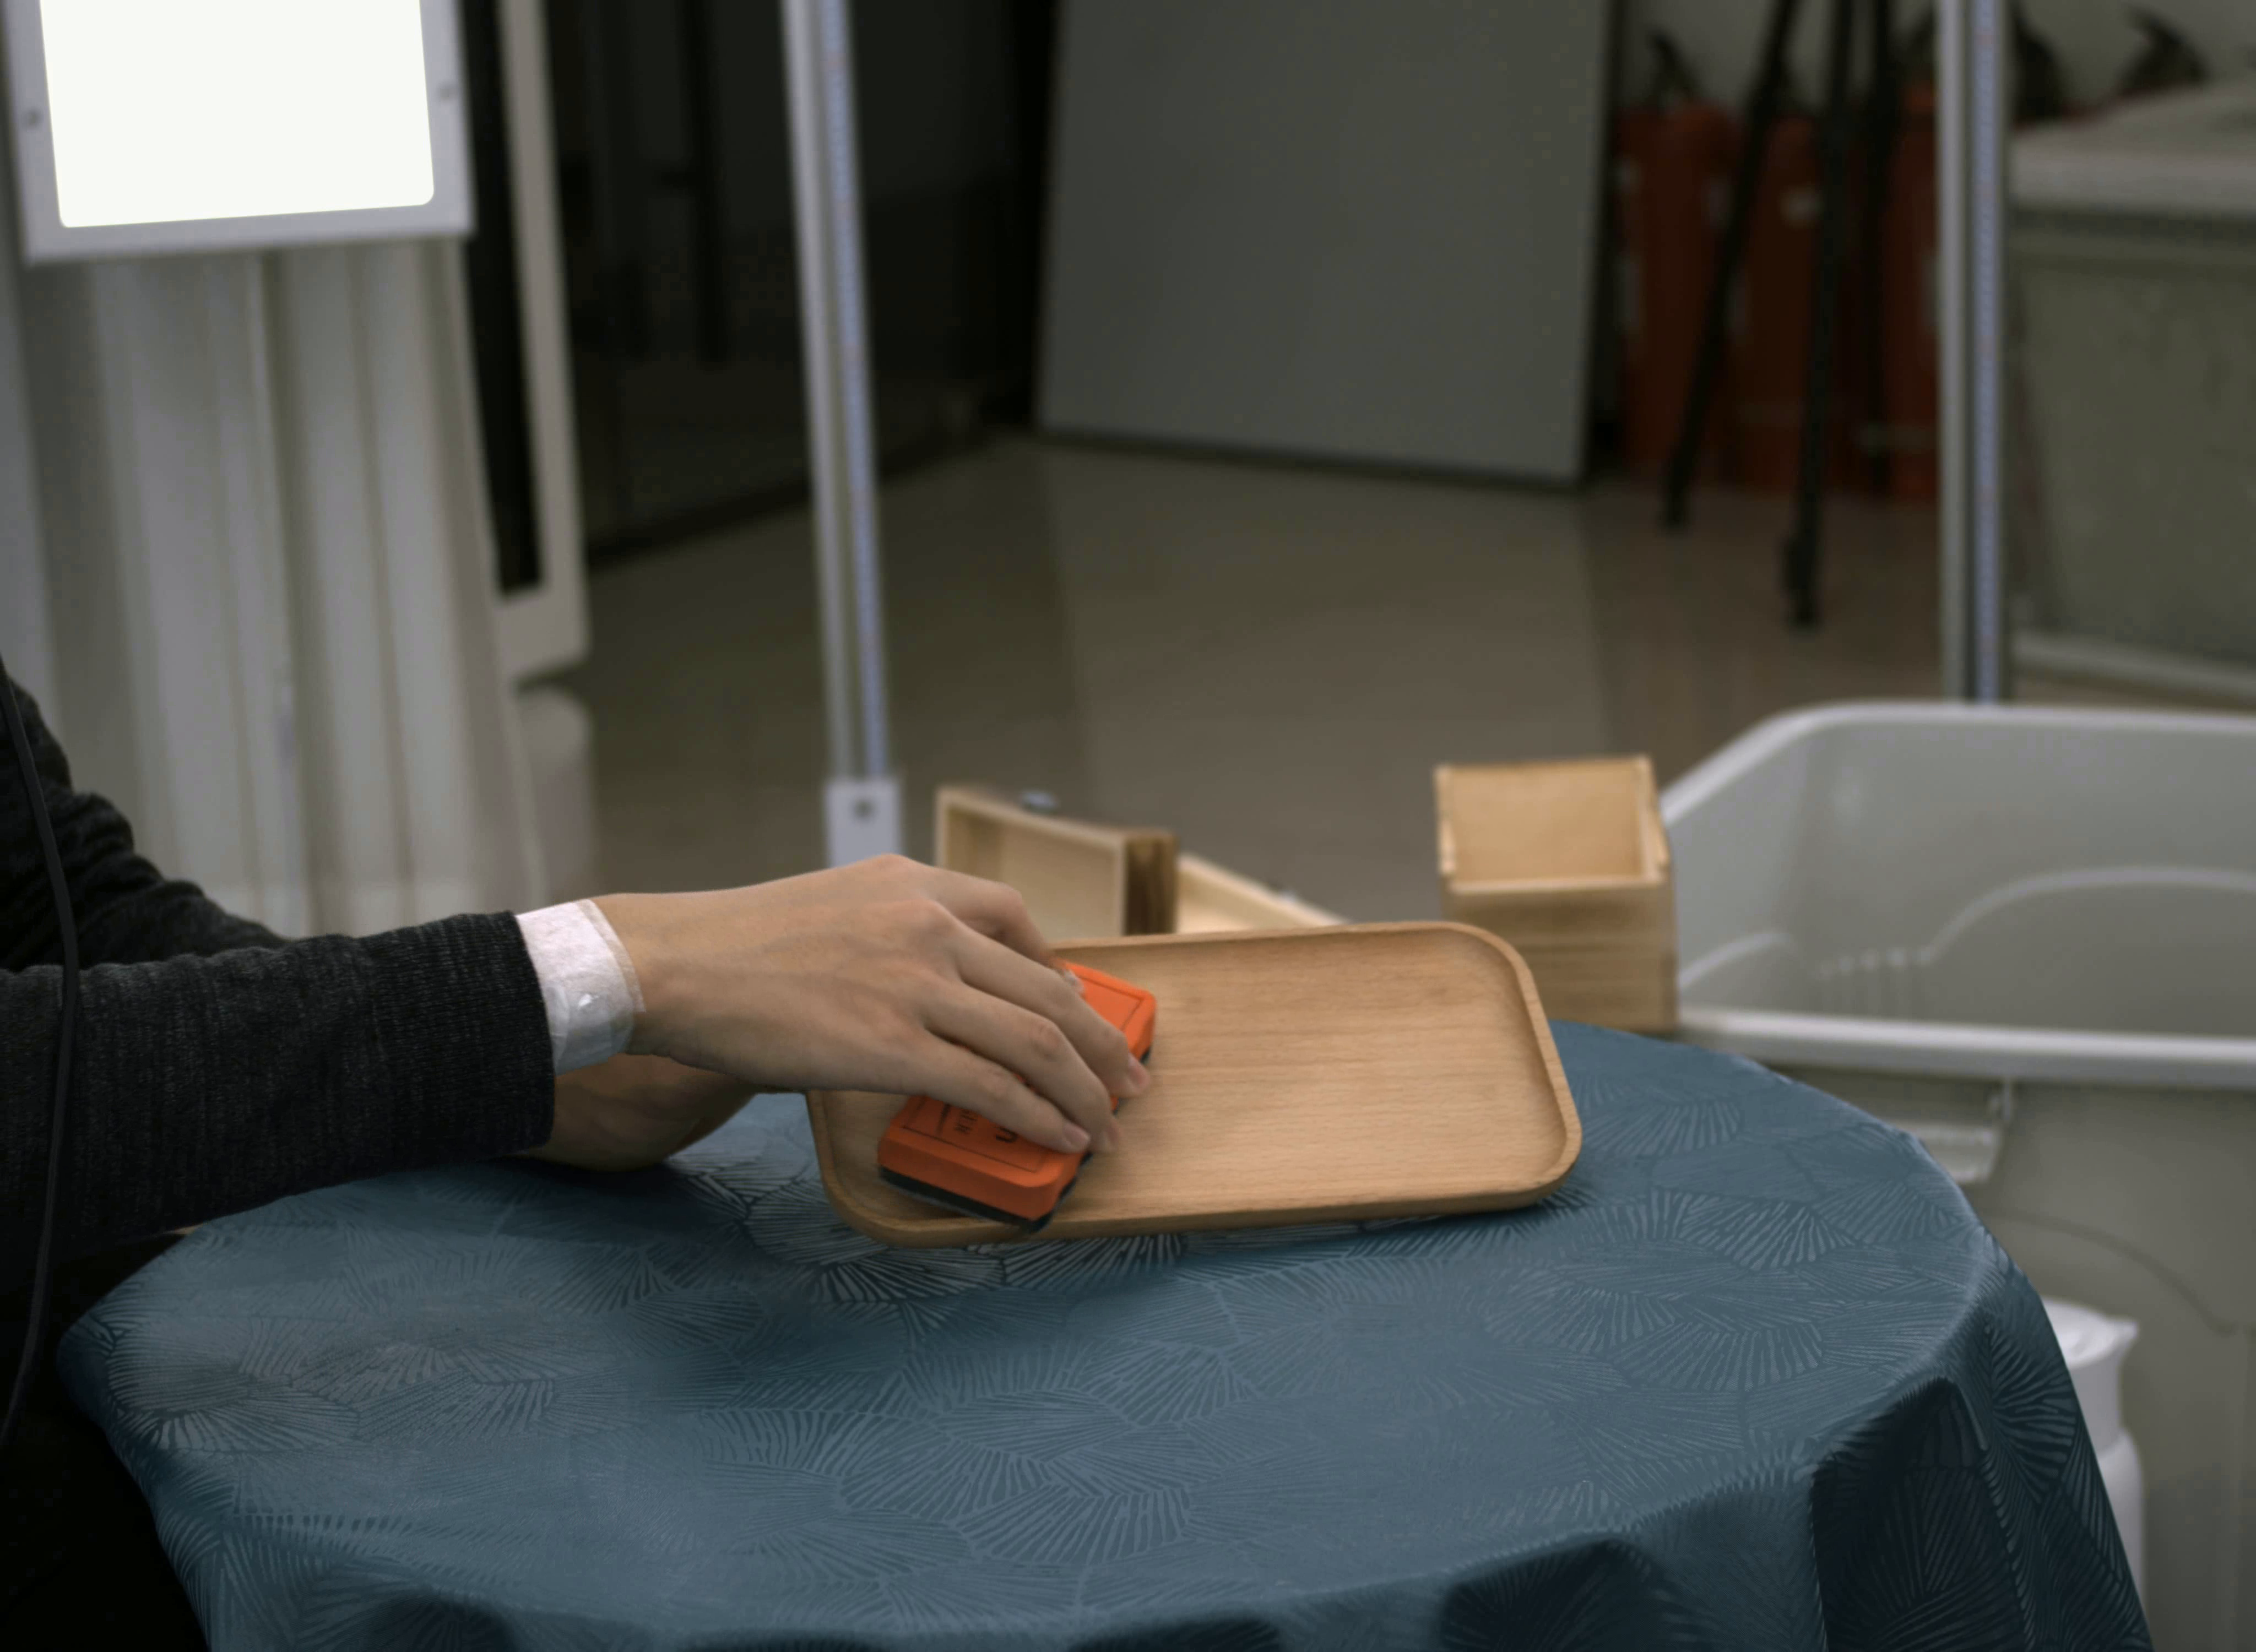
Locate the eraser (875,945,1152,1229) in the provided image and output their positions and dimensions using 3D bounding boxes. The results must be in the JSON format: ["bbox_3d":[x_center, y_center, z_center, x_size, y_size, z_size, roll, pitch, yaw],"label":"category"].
[{"bbox_3d":[-0.036,0.082,1.719,0.059,0.023,0.107,16,39,16],"label":"eraser"}]

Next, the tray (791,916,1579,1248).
[{"bbox_3d":[0.018,0.083,1.746,0.246,0.023,0.132,-3,40,-9],"label":"tray"}]
